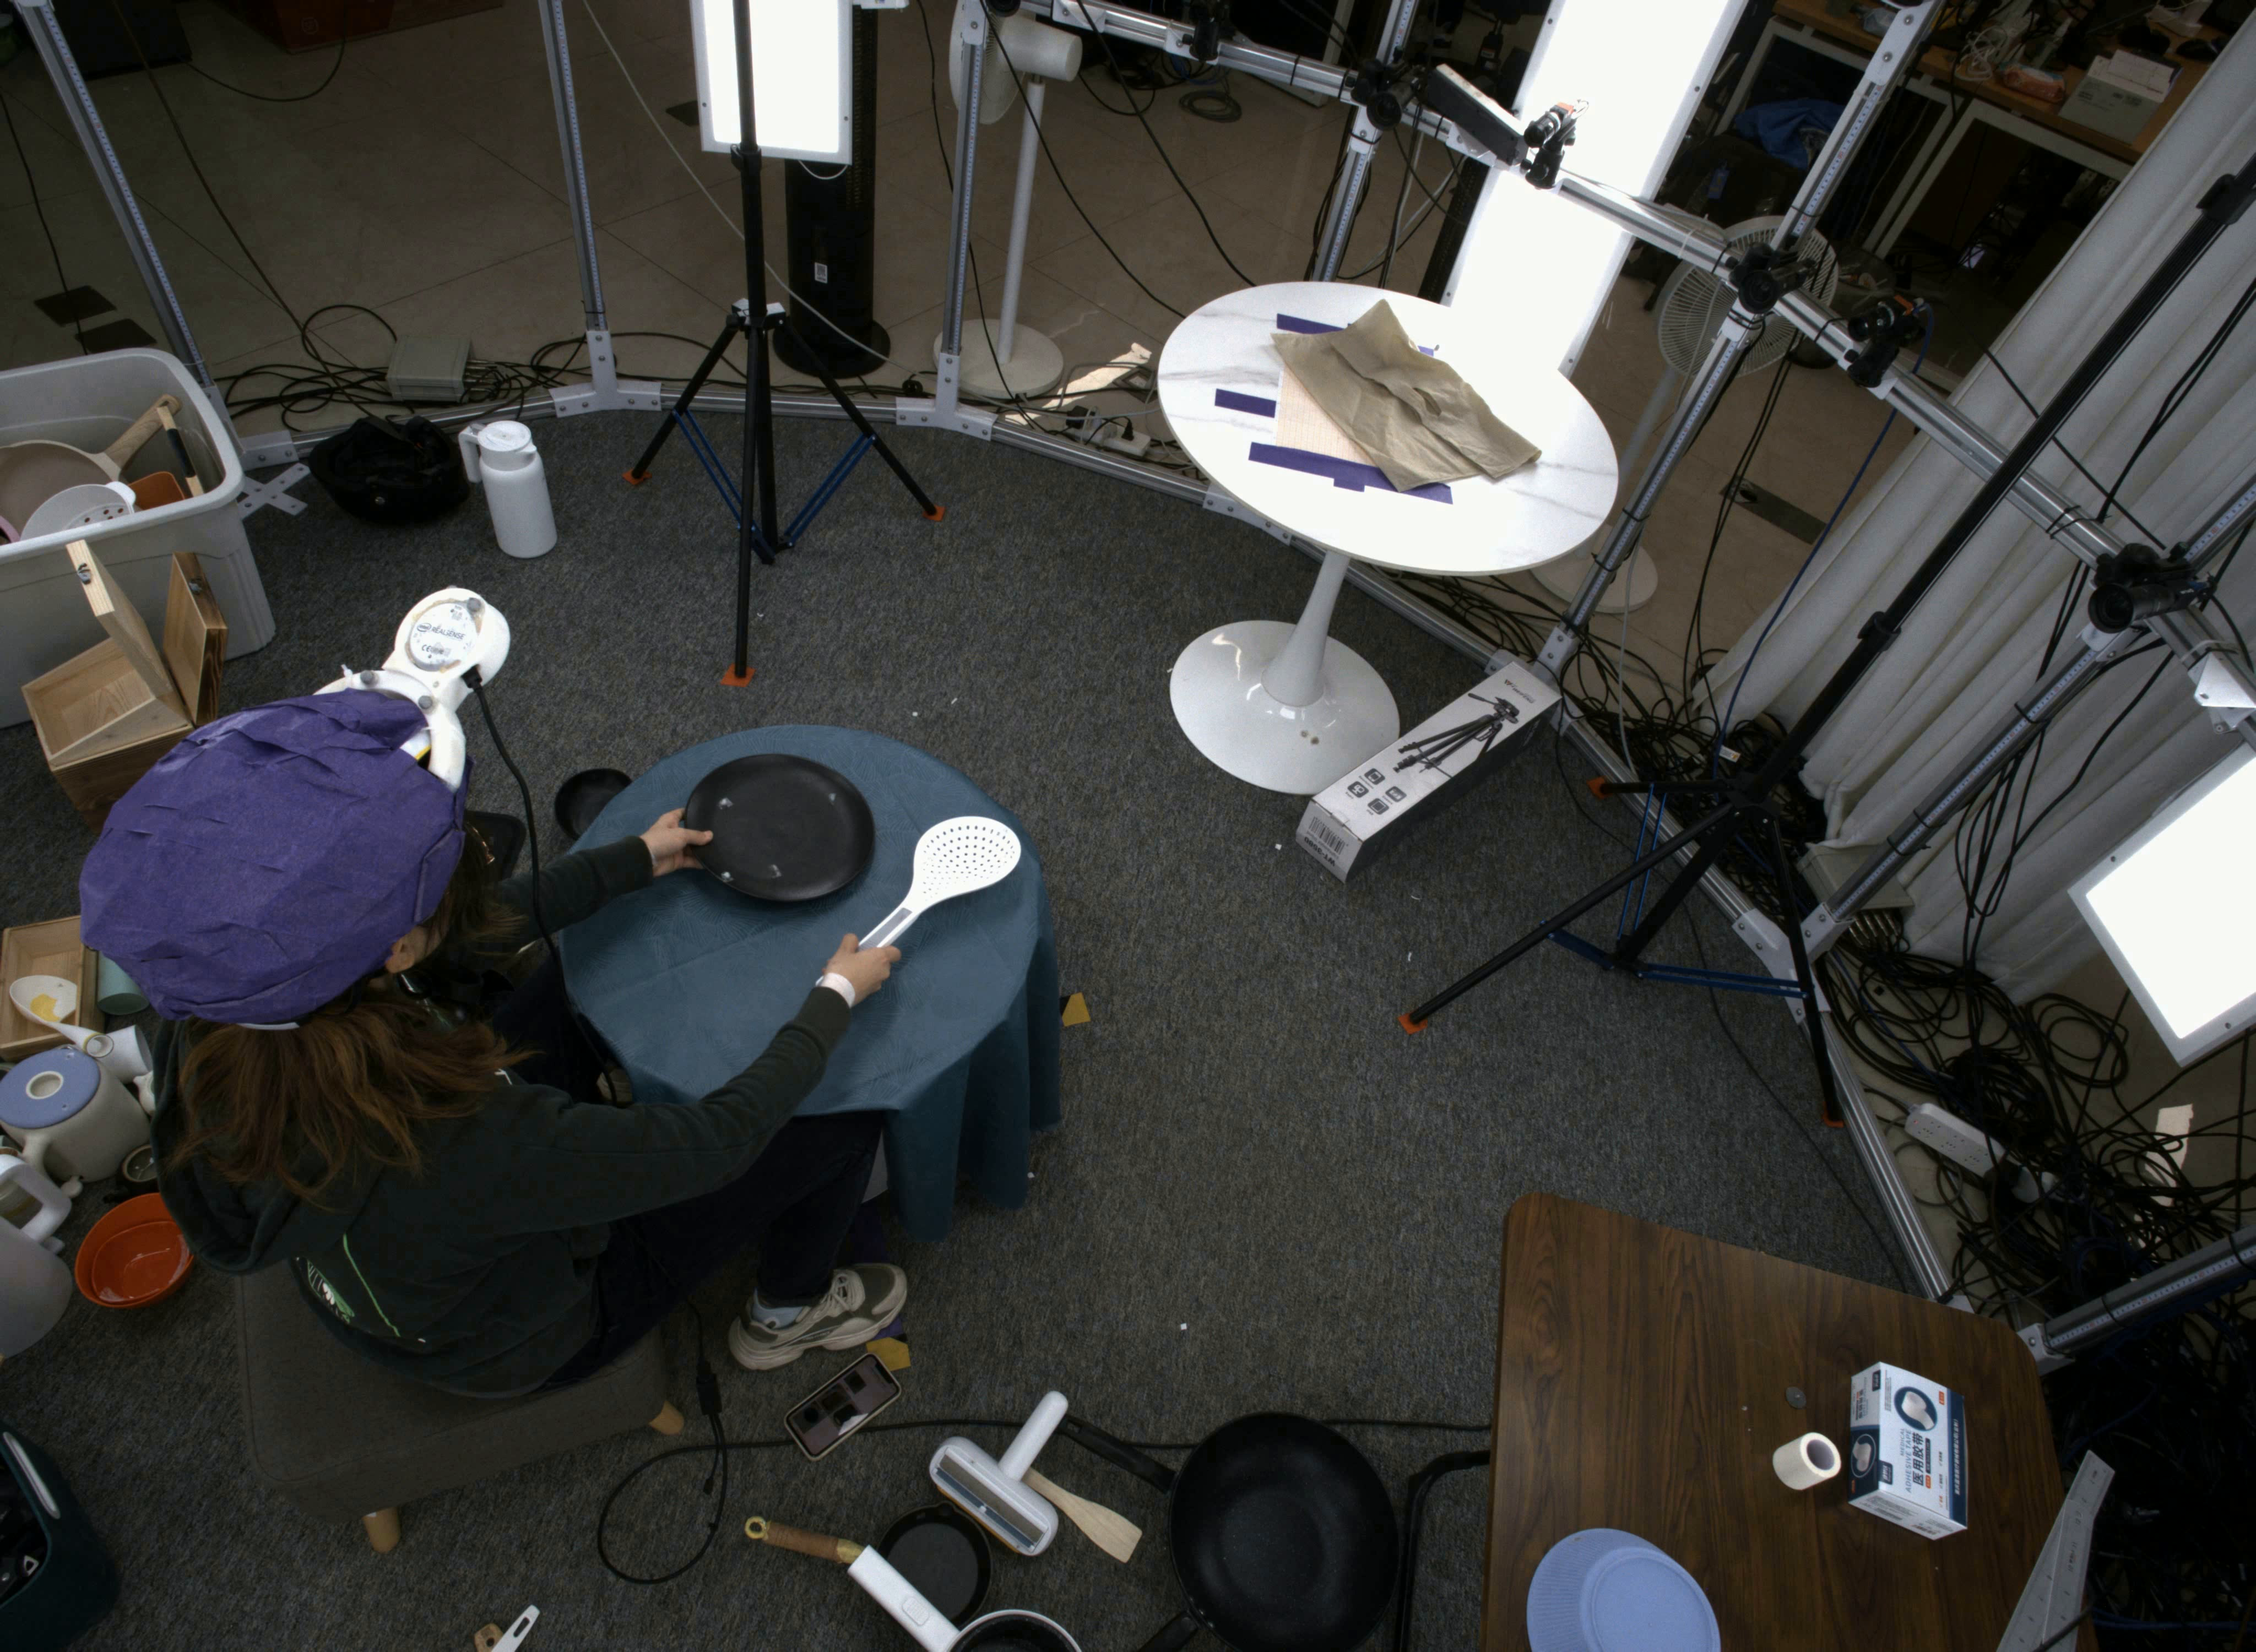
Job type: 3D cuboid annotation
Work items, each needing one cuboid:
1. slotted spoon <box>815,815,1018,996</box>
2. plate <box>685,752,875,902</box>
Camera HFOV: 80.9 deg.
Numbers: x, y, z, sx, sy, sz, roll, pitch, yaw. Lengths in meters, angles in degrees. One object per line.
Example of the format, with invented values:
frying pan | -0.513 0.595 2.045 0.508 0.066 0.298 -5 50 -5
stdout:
slotted spoon | -0.268 0.096 1.642 0.132 0.047 0.349 24 41 22
plate | -0.453 0.002 1.689 0.246 0.024 0.240 14 49 -14
